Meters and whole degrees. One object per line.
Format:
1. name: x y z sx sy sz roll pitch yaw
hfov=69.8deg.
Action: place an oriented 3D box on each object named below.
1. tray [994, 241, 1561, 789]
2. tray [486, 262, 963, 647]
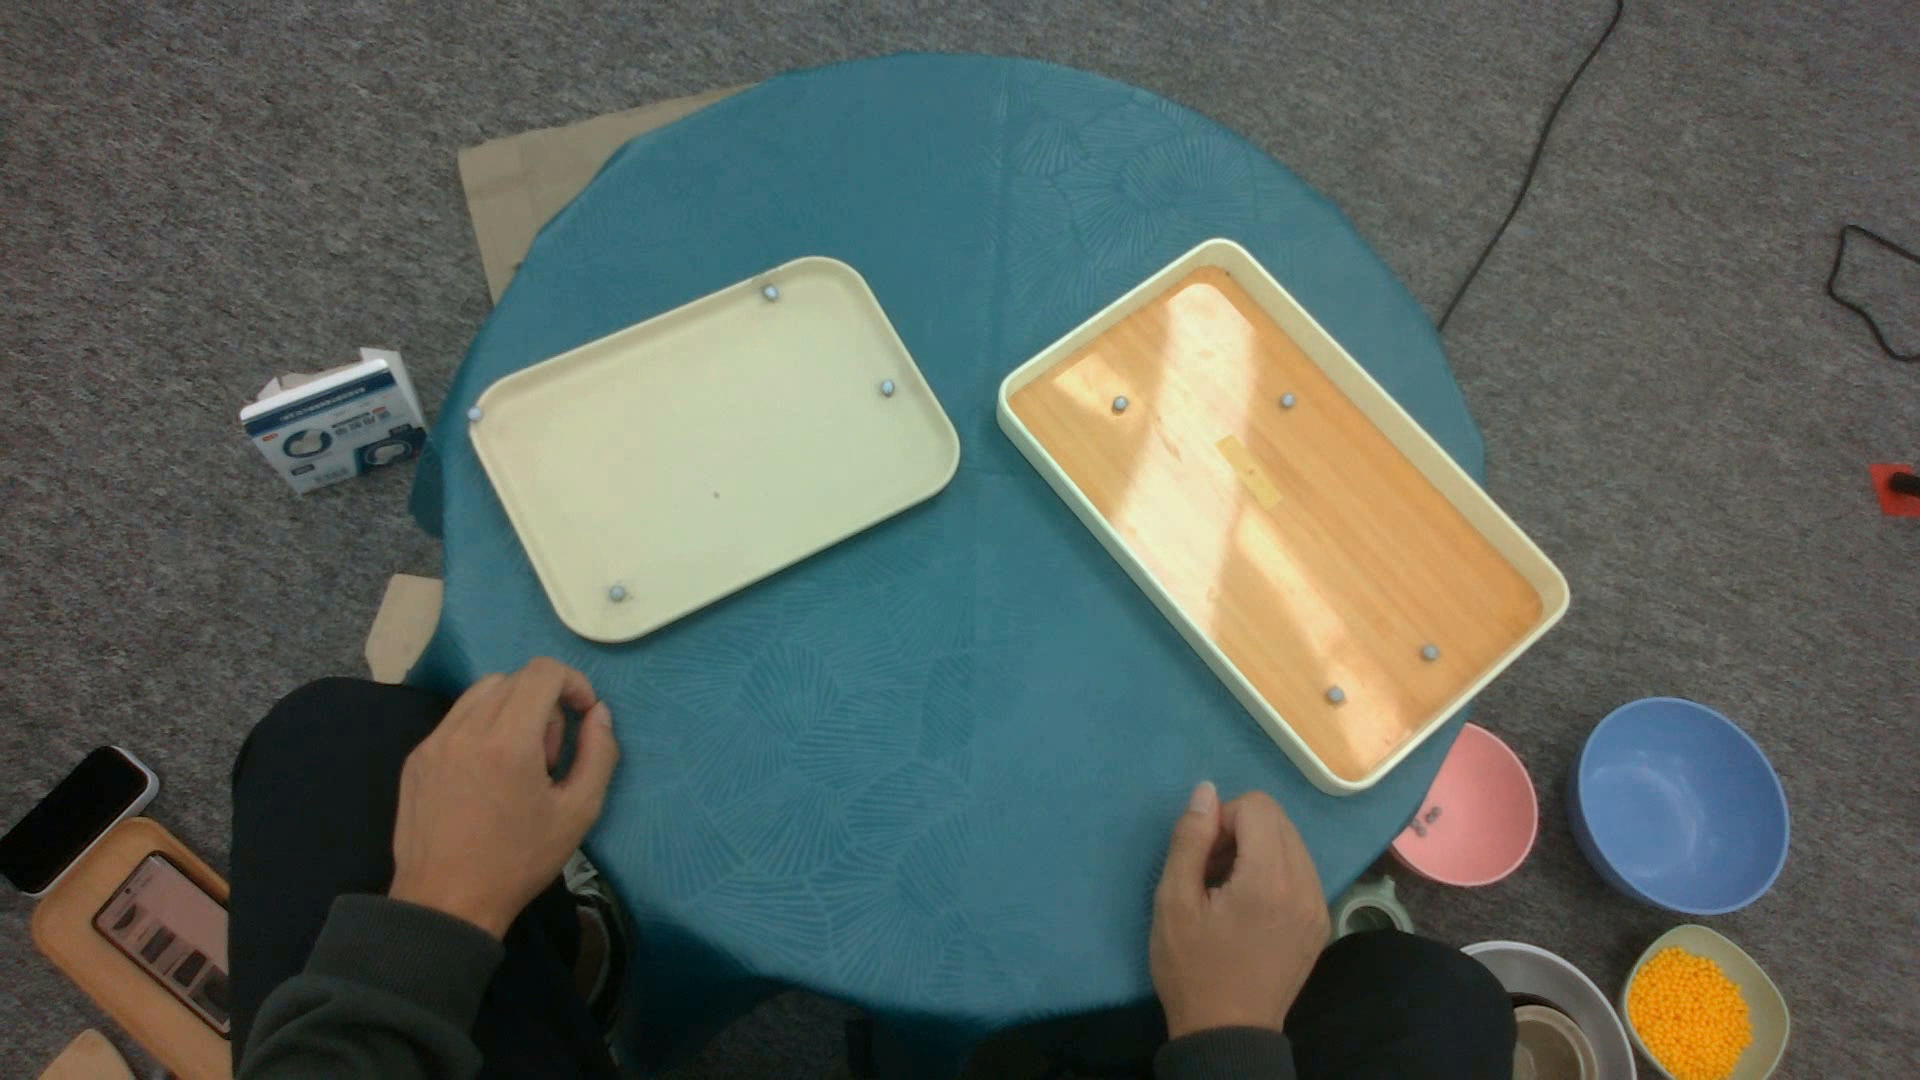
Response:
1. tray: 0.180 -0.024 0.799 0.192 0.027 0.300 -37 75 -18
2. tray: -0.132 -0.053 0.786 0.240 0.017 0.171 -27 73 -15
